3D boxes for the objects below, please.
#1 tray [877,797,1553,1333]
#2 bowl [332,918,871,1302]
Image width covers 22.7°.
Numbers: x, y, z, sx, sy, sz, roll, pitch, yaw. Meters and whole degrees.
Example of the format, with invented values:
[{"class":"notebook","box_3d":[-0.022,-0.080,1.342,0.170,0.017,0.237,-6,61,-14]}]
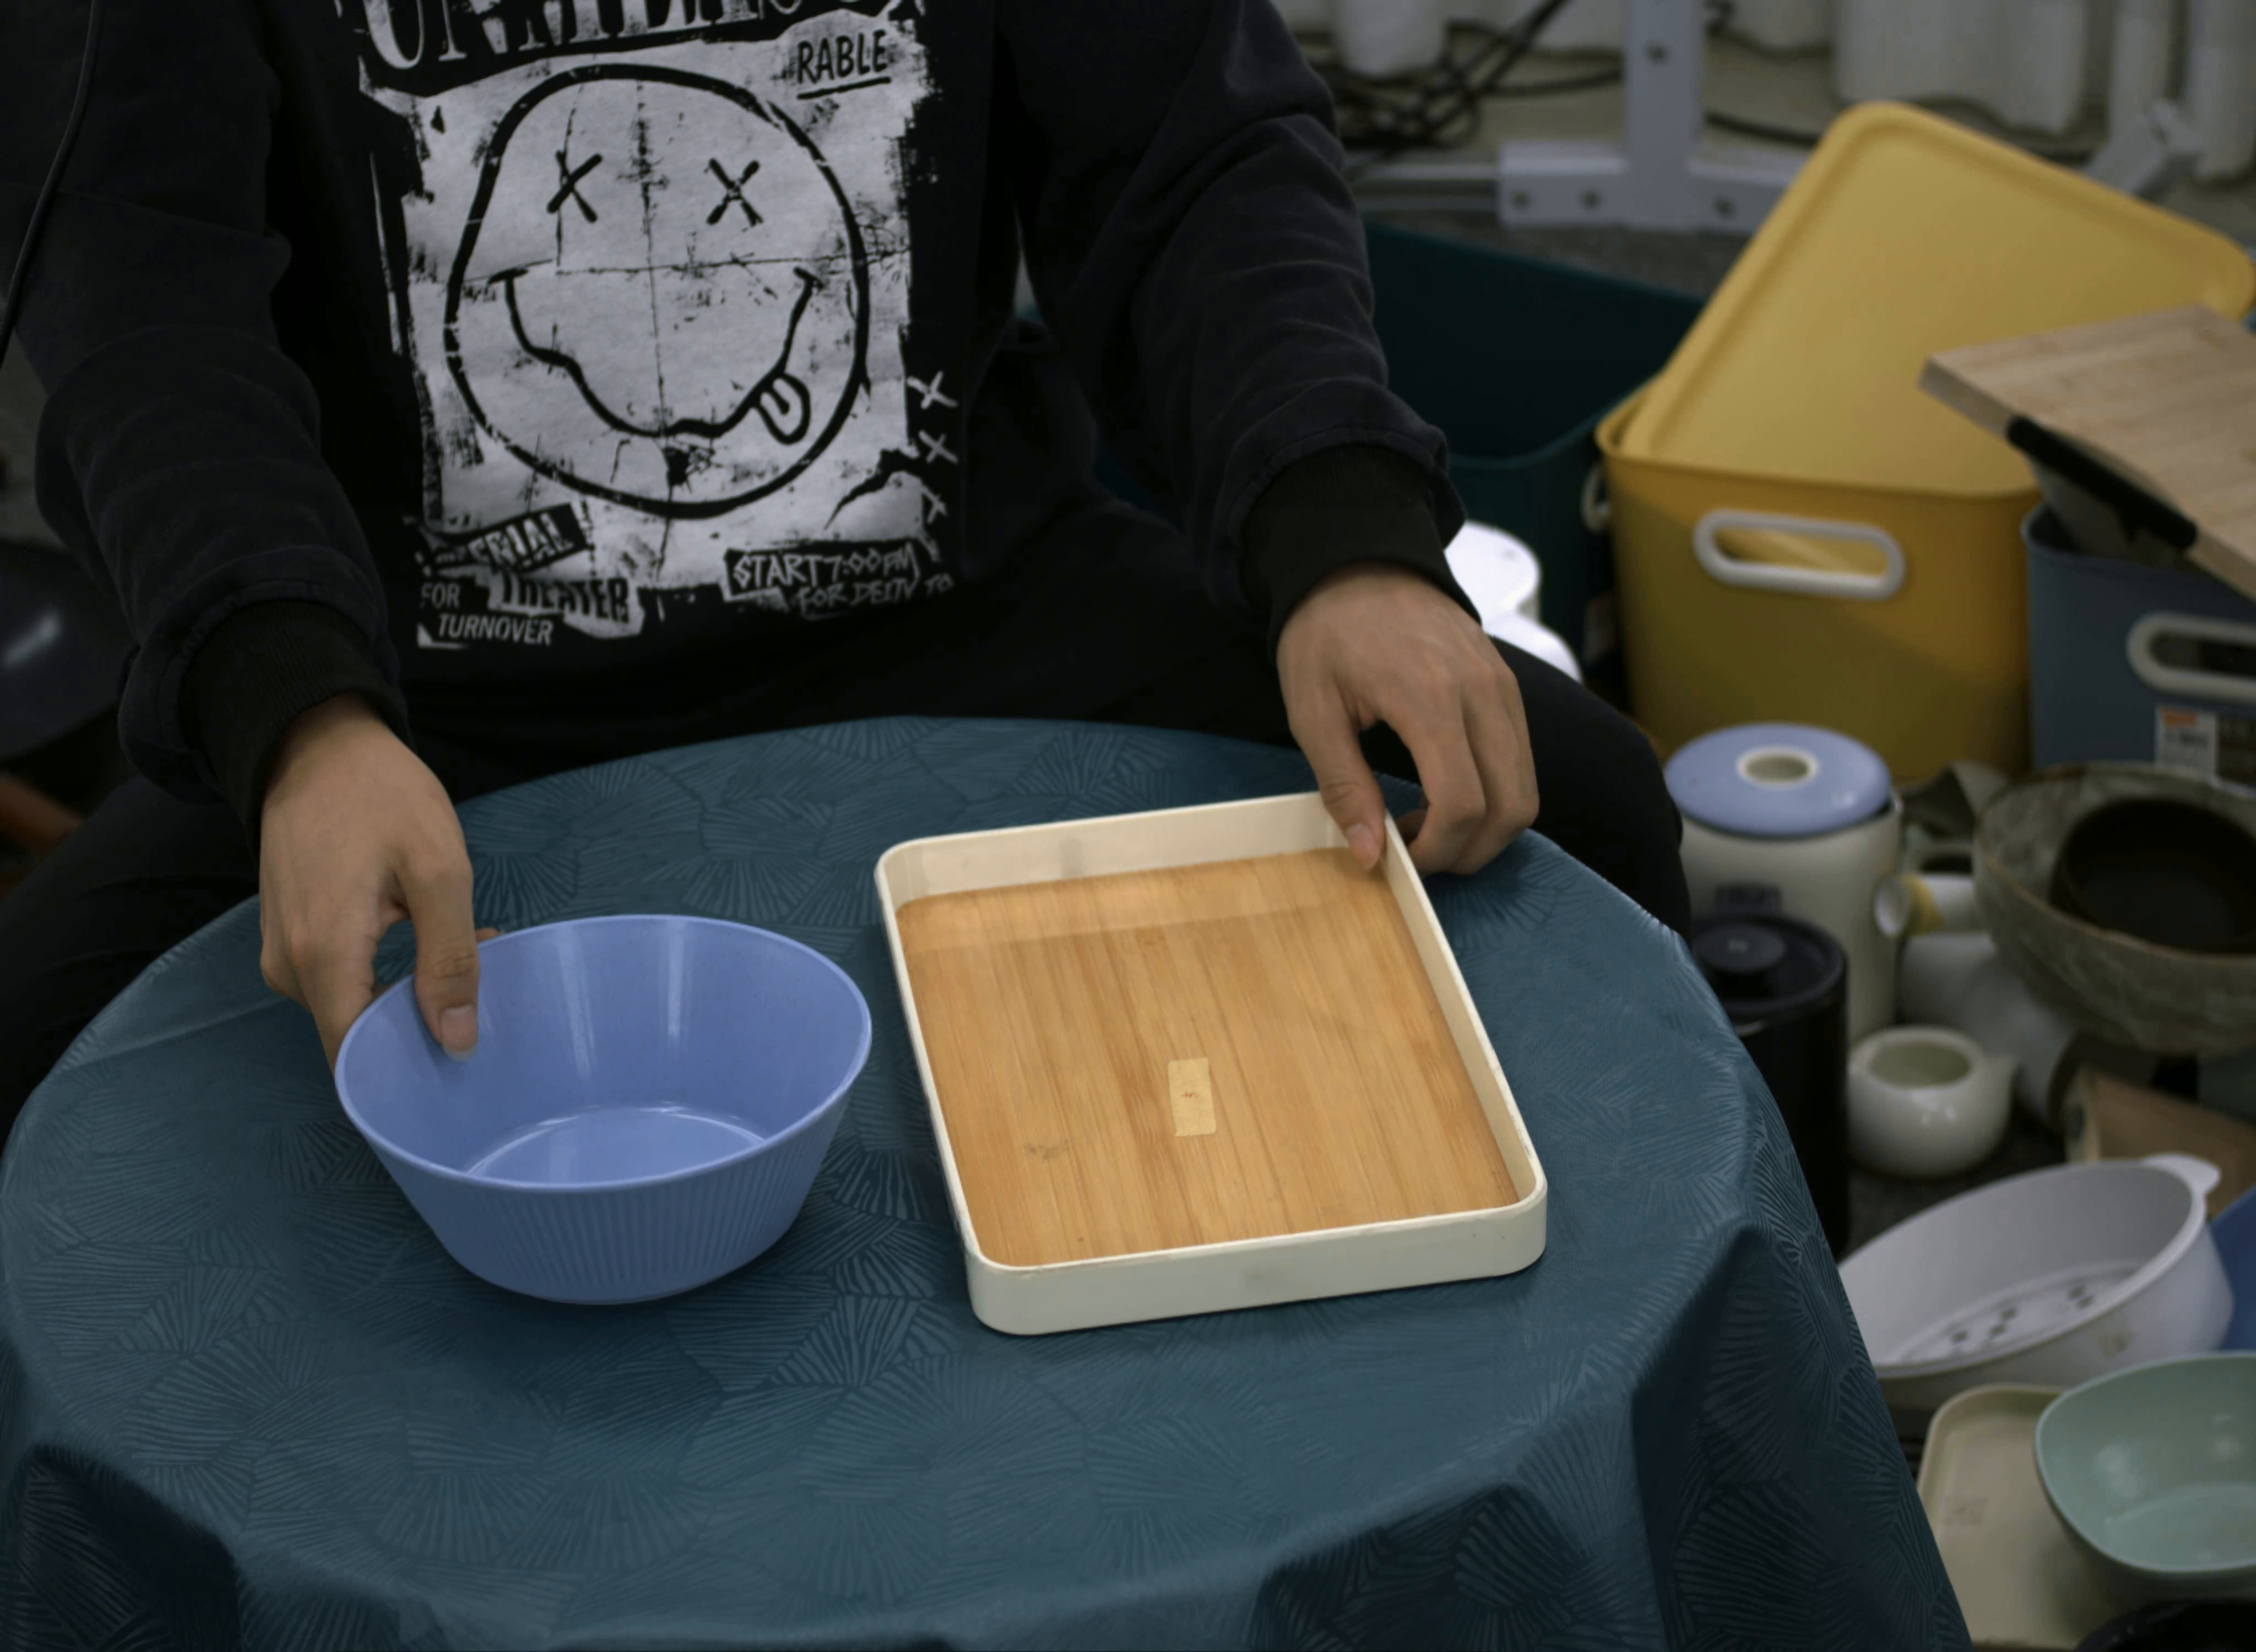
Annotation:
[{"class":"tray","box_3d":[0.024,0.076,1.919,0.191,0.027,0.304,-6,27,-7]},{"class":"bowl","box_3d":[-0.170,0.099,1.844,0.175,0.069,0.179,-1,27,1]}]
